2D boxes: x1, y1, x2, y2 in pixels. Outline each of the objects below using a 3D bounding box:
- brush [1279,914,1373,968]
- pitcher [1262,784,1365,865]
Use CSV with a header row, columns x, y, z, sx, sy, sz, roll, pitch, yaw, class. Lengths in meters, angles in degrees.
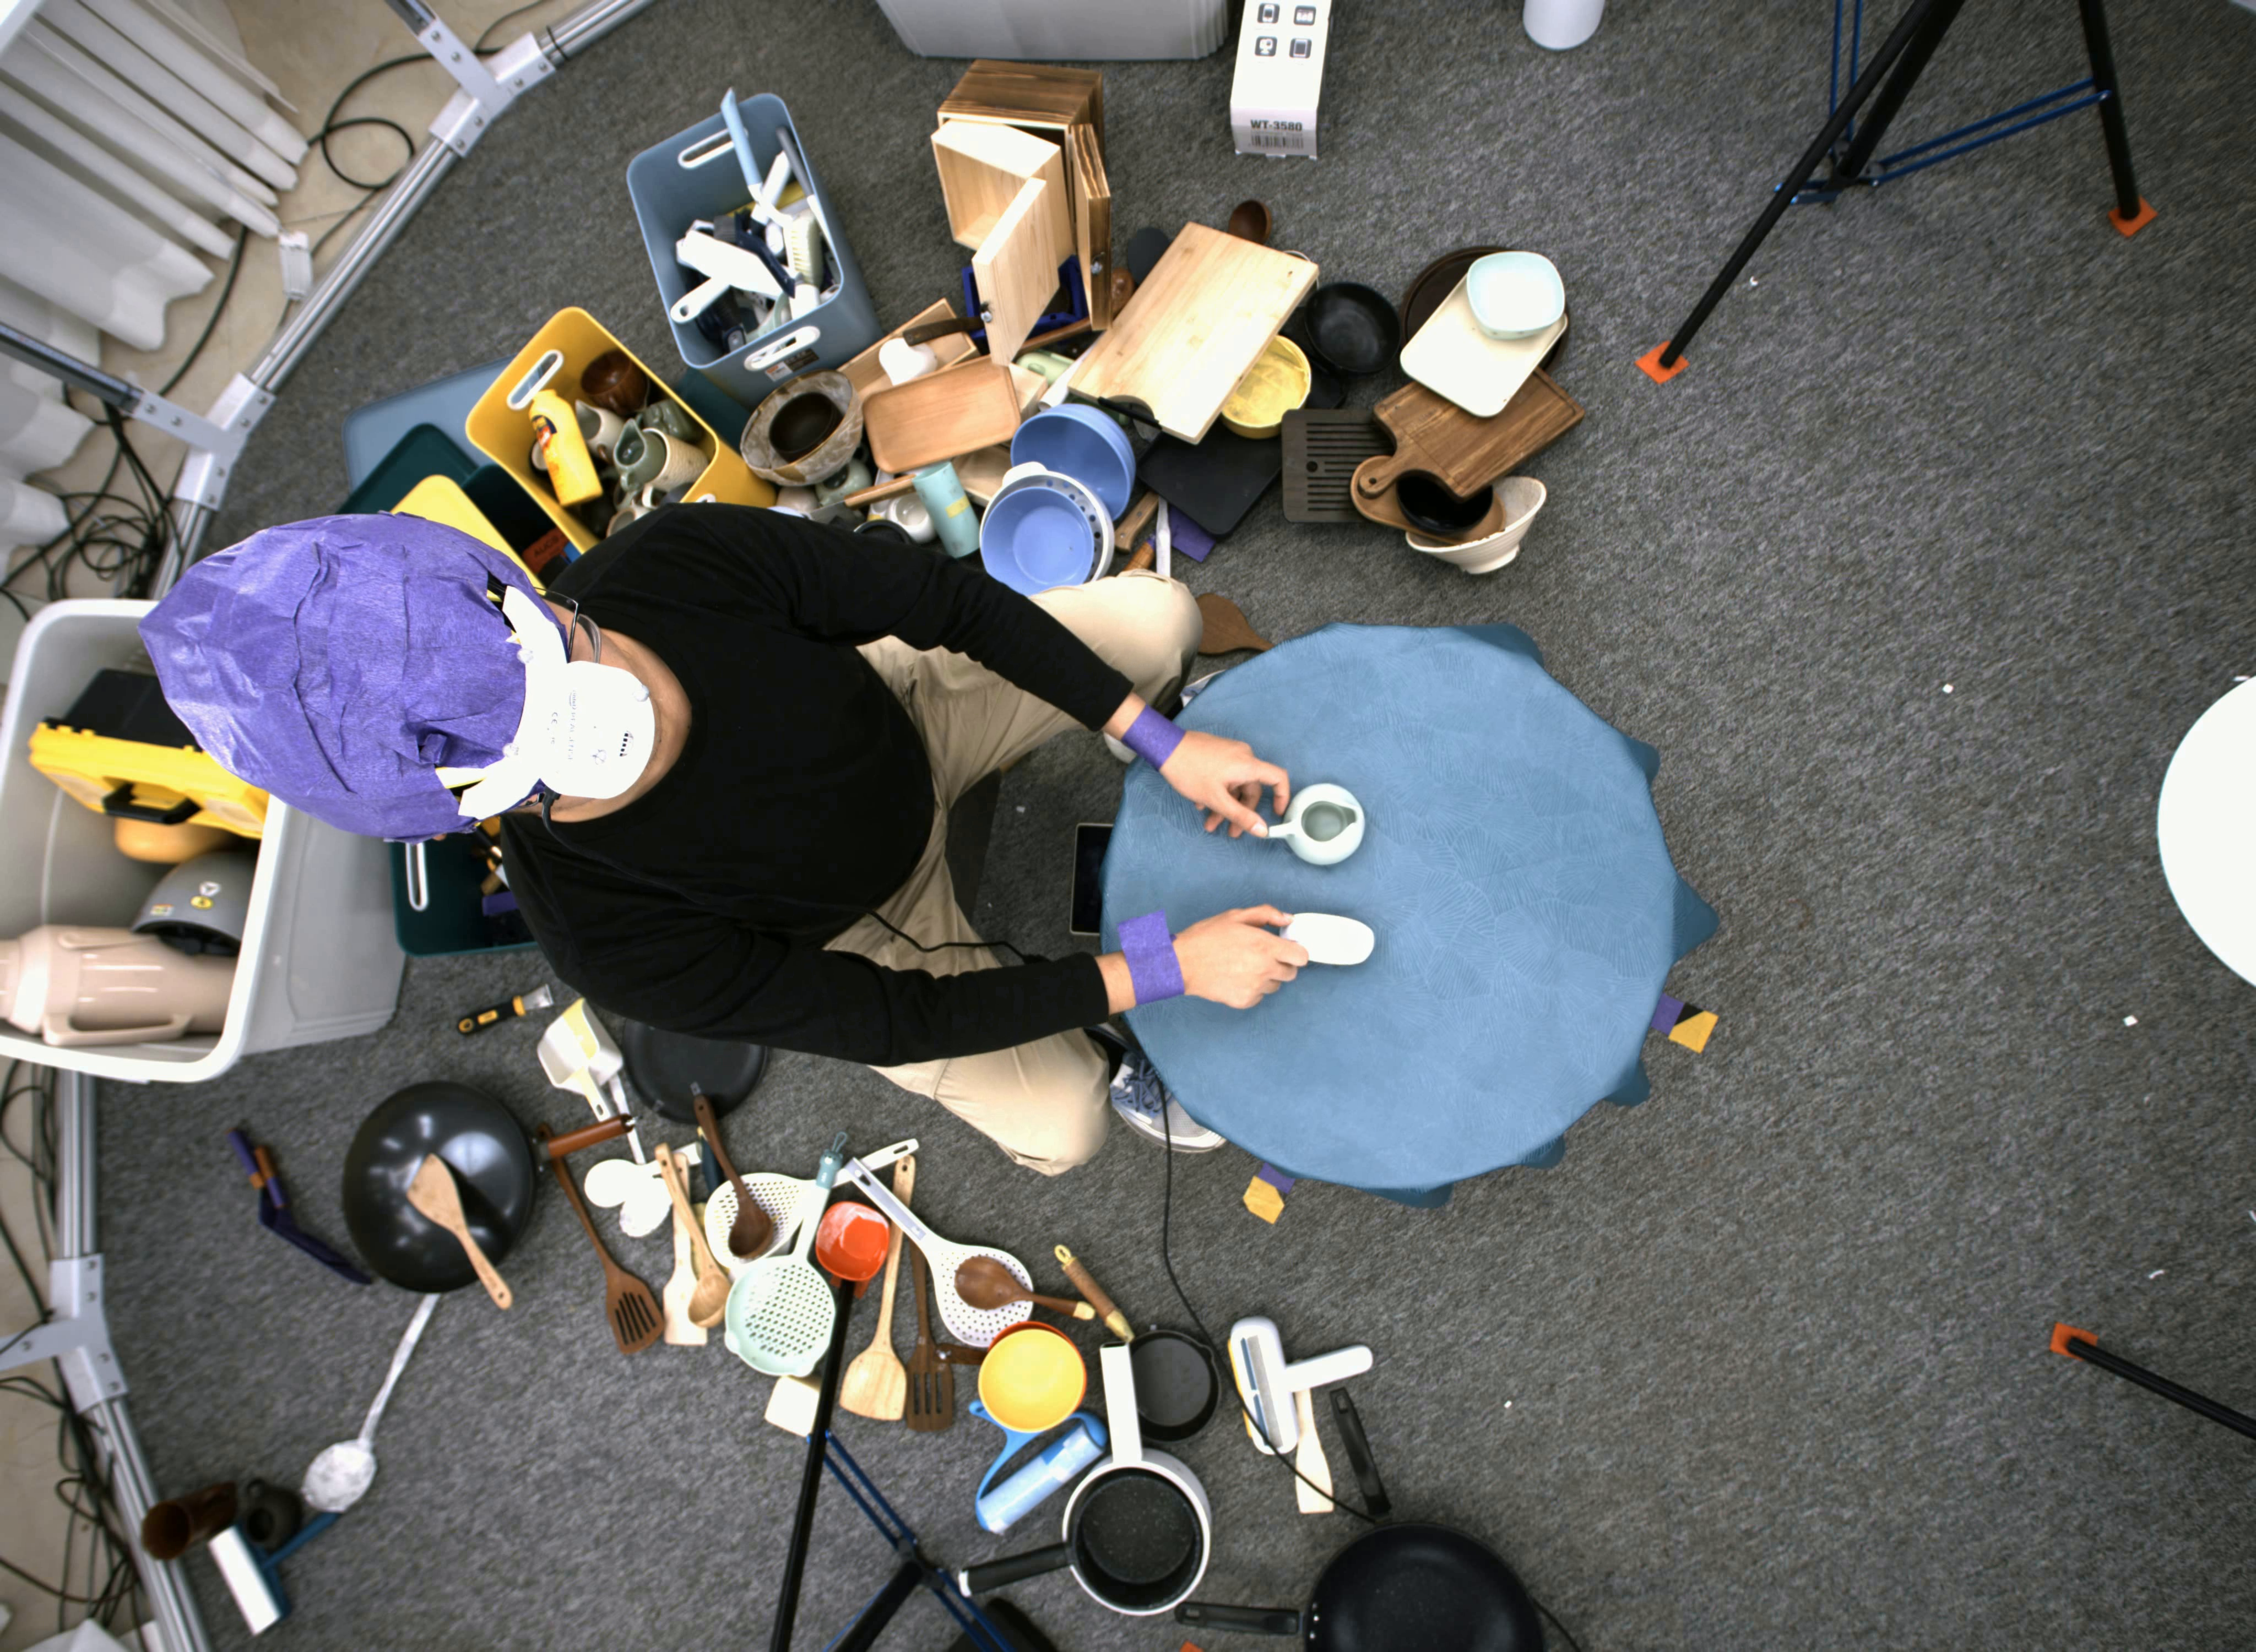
x,y,z,sx,sy,sz,roll,pitch,yaw,class
0.204,0.116,1.431,0.099,0.073,0.050,10,85,10,brush
0.194,-0.001,1.449,0.108,0.060,0.085,-14,83,12,pitcher
